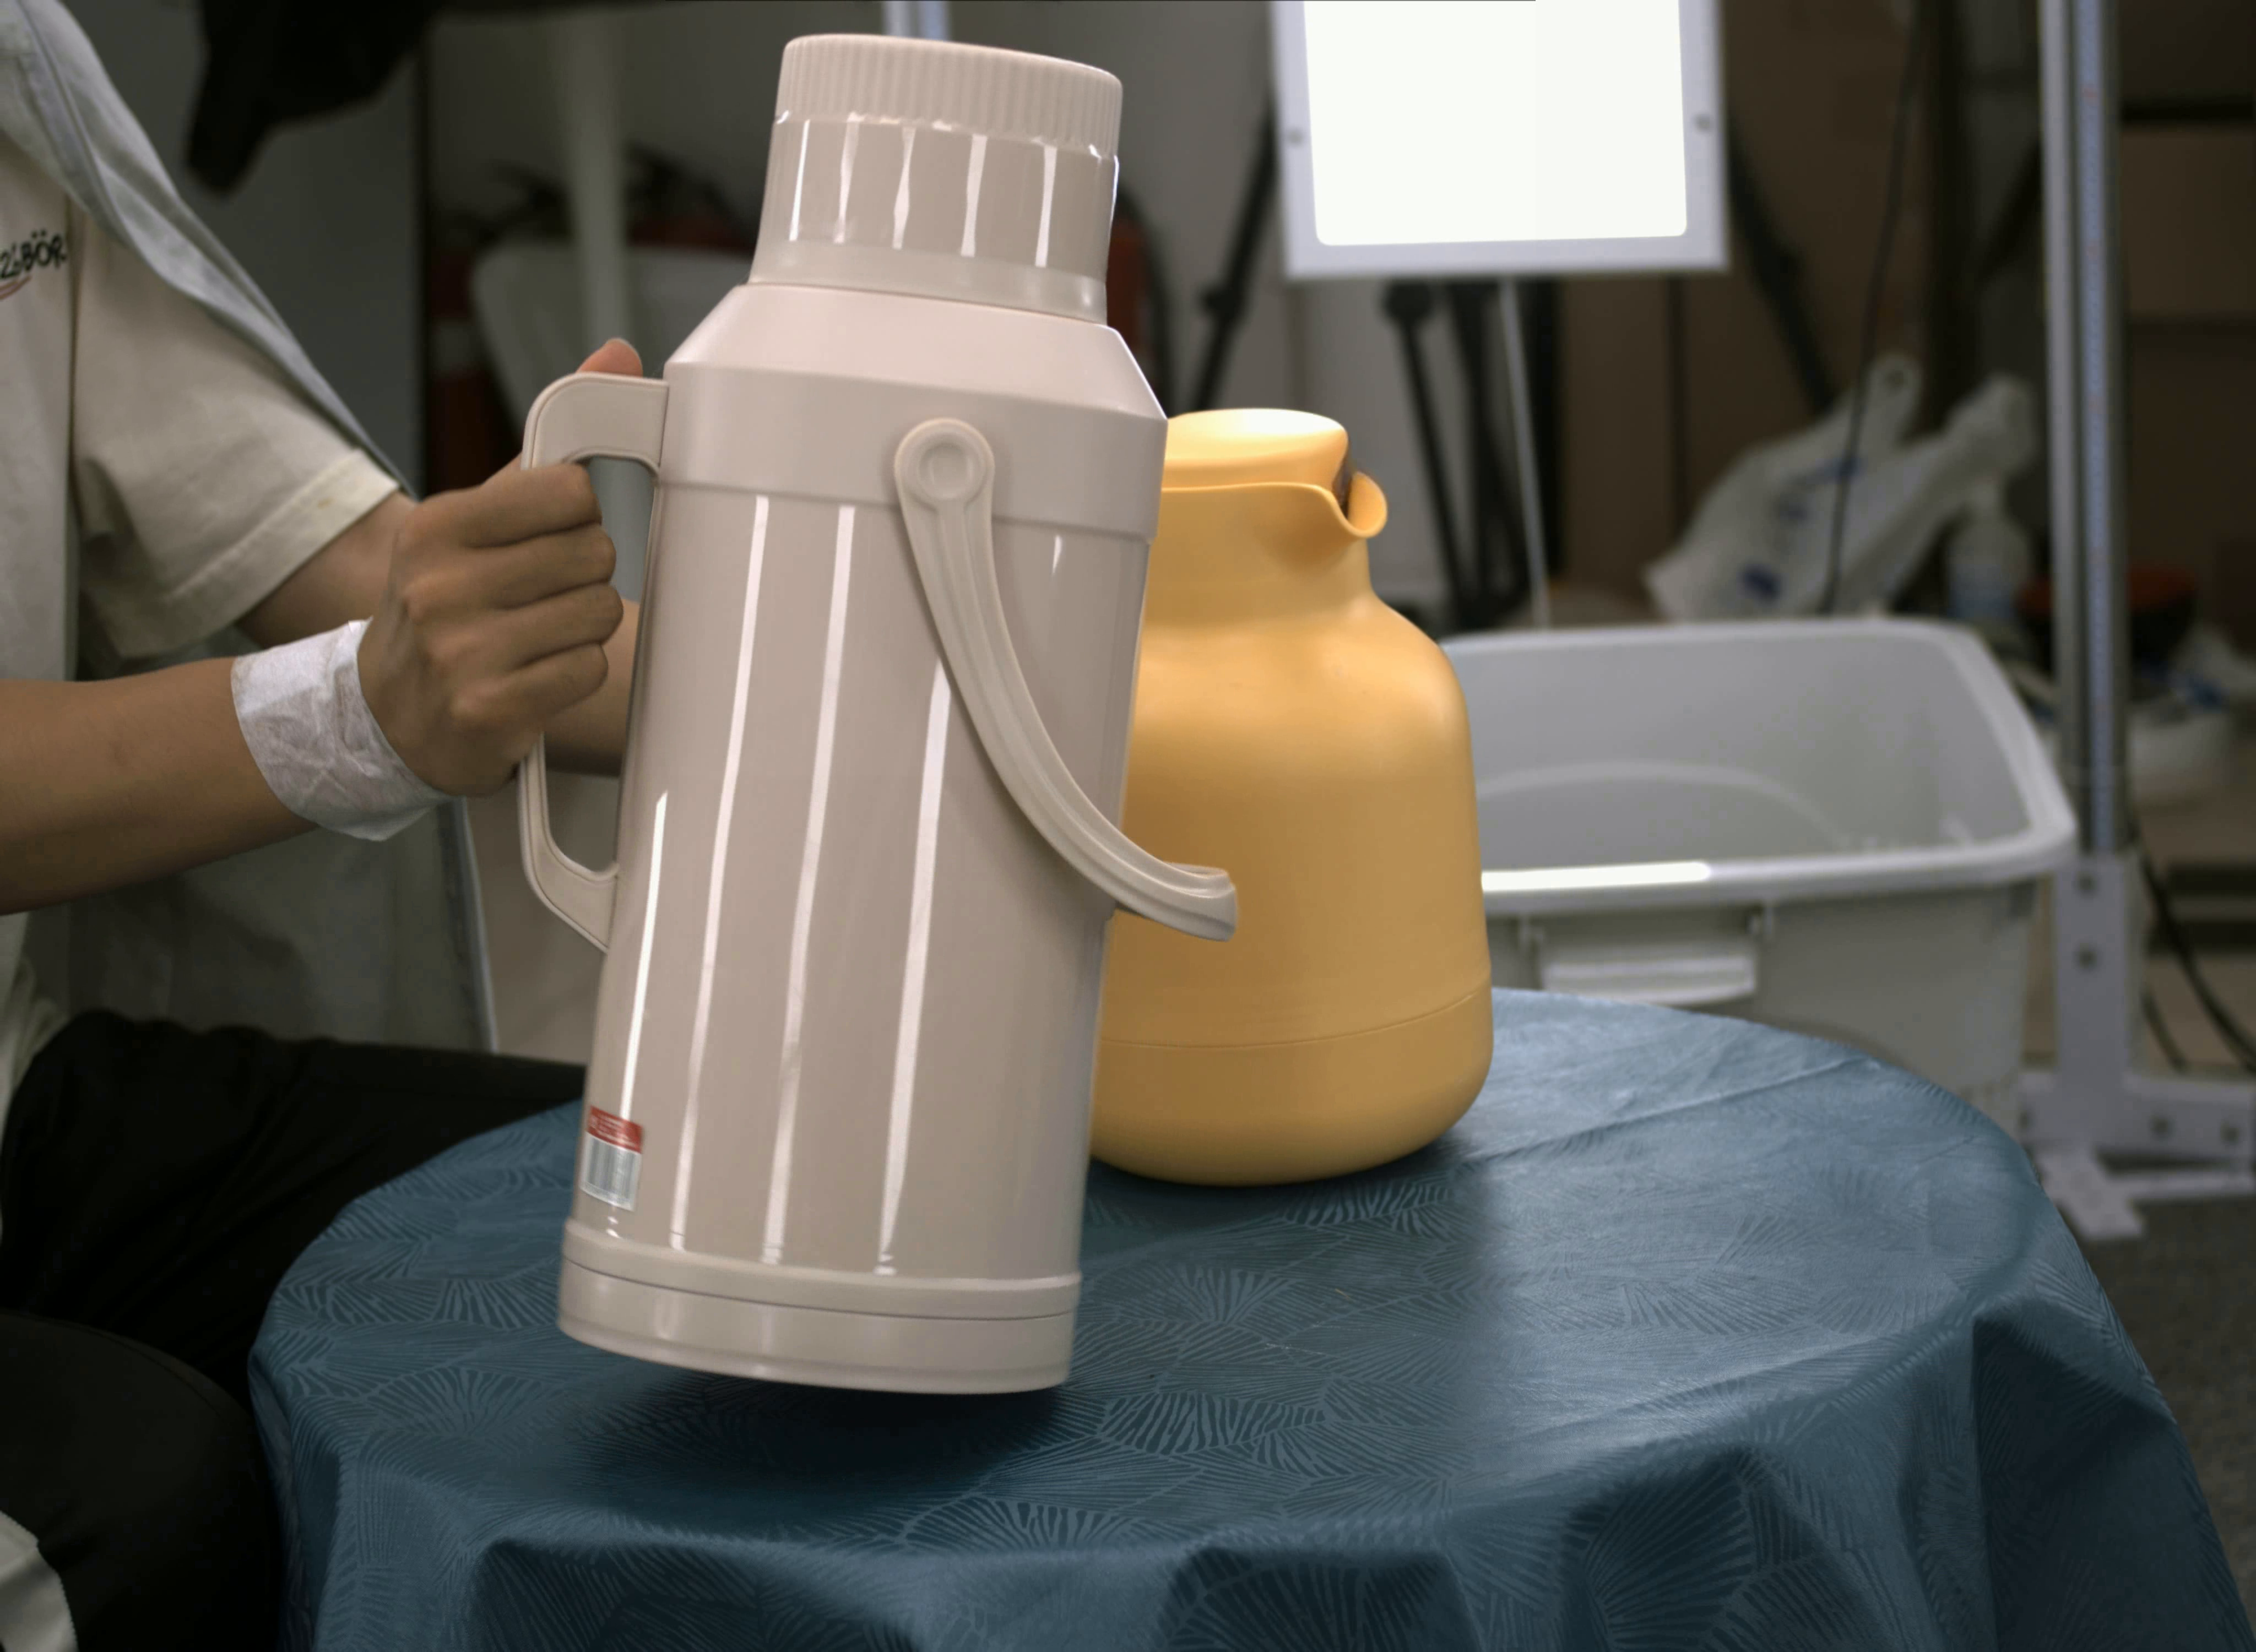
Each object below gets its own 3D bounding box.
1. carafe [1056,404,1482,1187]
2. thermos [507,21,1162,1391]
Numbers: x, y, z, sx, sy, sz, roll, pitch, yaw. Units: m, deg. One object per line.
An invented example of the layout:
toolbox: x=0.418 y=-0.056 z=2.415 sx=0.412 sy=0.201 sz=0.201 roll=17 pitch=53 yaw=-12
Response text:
carafe: x=0.028 y=-0.018 z=1.926 sx=0.159 sy=0.261 sz=0.206 roll=-12 pitch=17 yaw=-36
thermos: x=-0.091 y=-0.038 z=1.686 sx=0.205 sy=0.408 sz=0.176 roll=6 pitch=4 yaw=-8
